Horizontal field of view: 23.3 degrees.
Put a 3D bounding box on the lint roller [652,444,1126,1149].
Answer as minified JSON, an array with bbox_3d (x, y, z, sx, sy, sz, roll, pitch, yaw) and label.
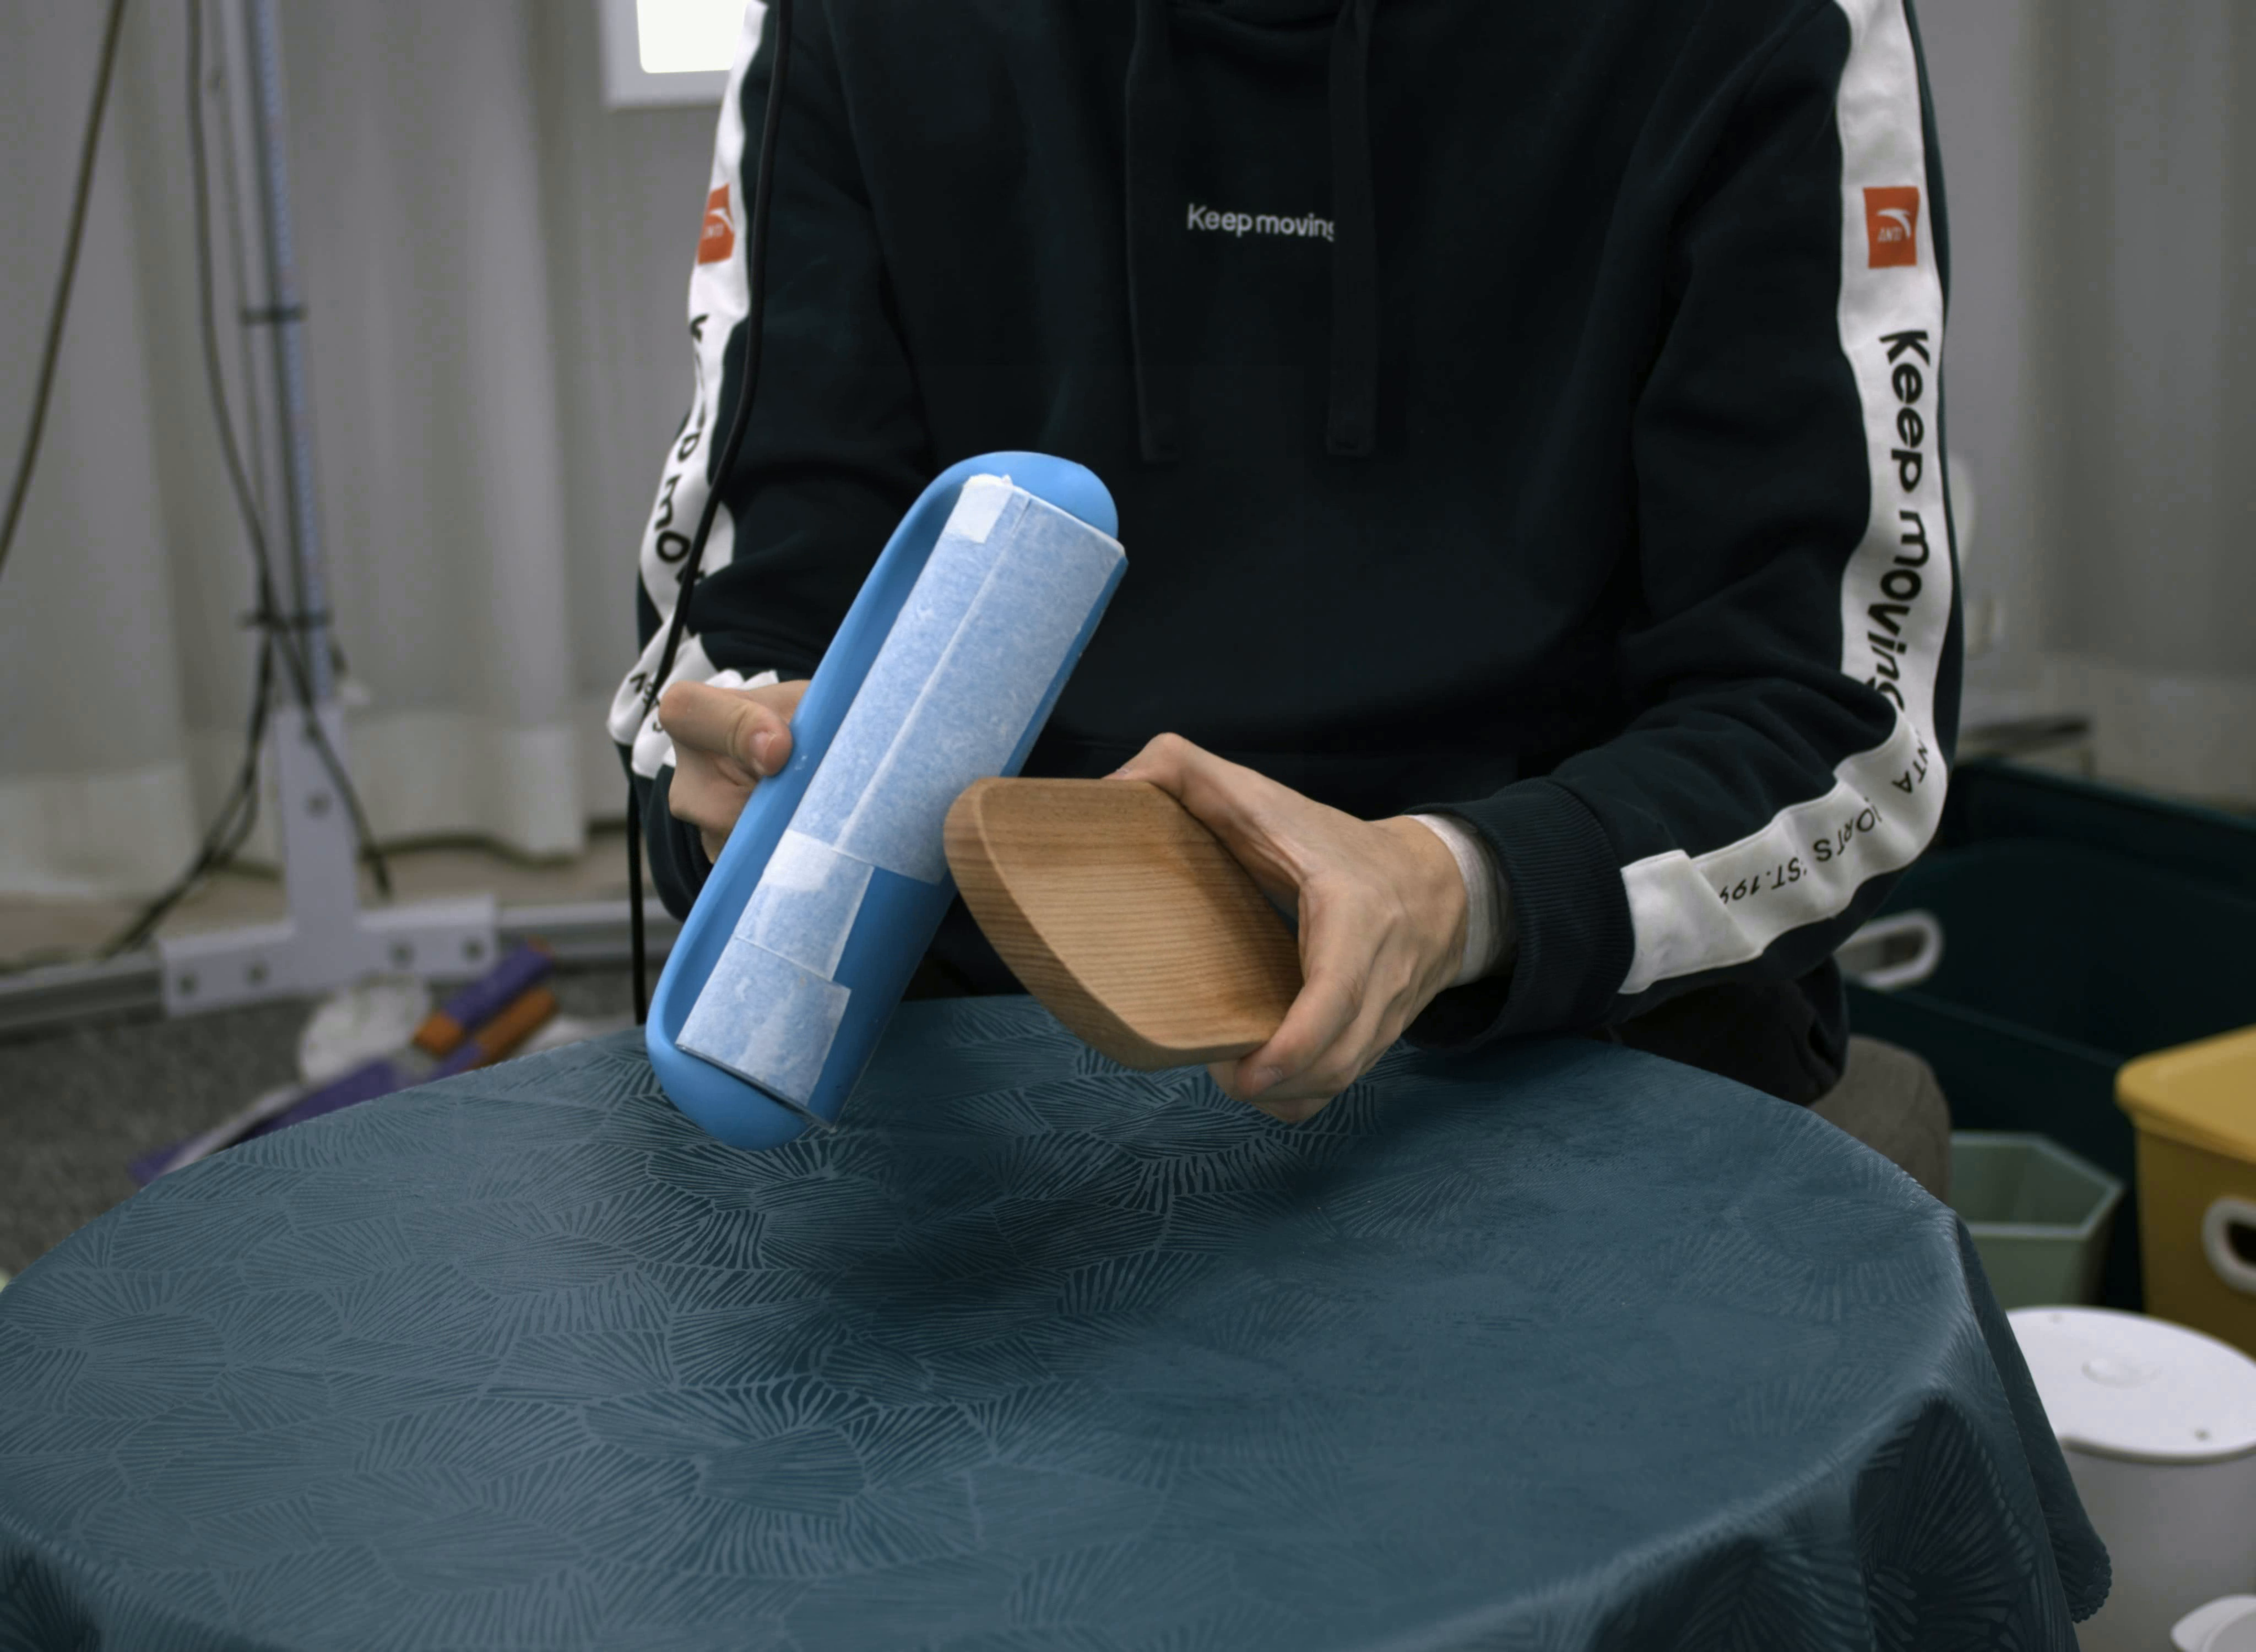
[{"bbox_3d":[-0.082,-0.006,1.681,0.067,0.230,0.180,27,-11,-11],"label":"lint roller"}]

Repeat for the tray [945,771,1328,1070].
[{"bbox_3d":[0.004,0.028,1.646,0.020,0.102,0.230,-38,-11,14],"label":"tray"}]
